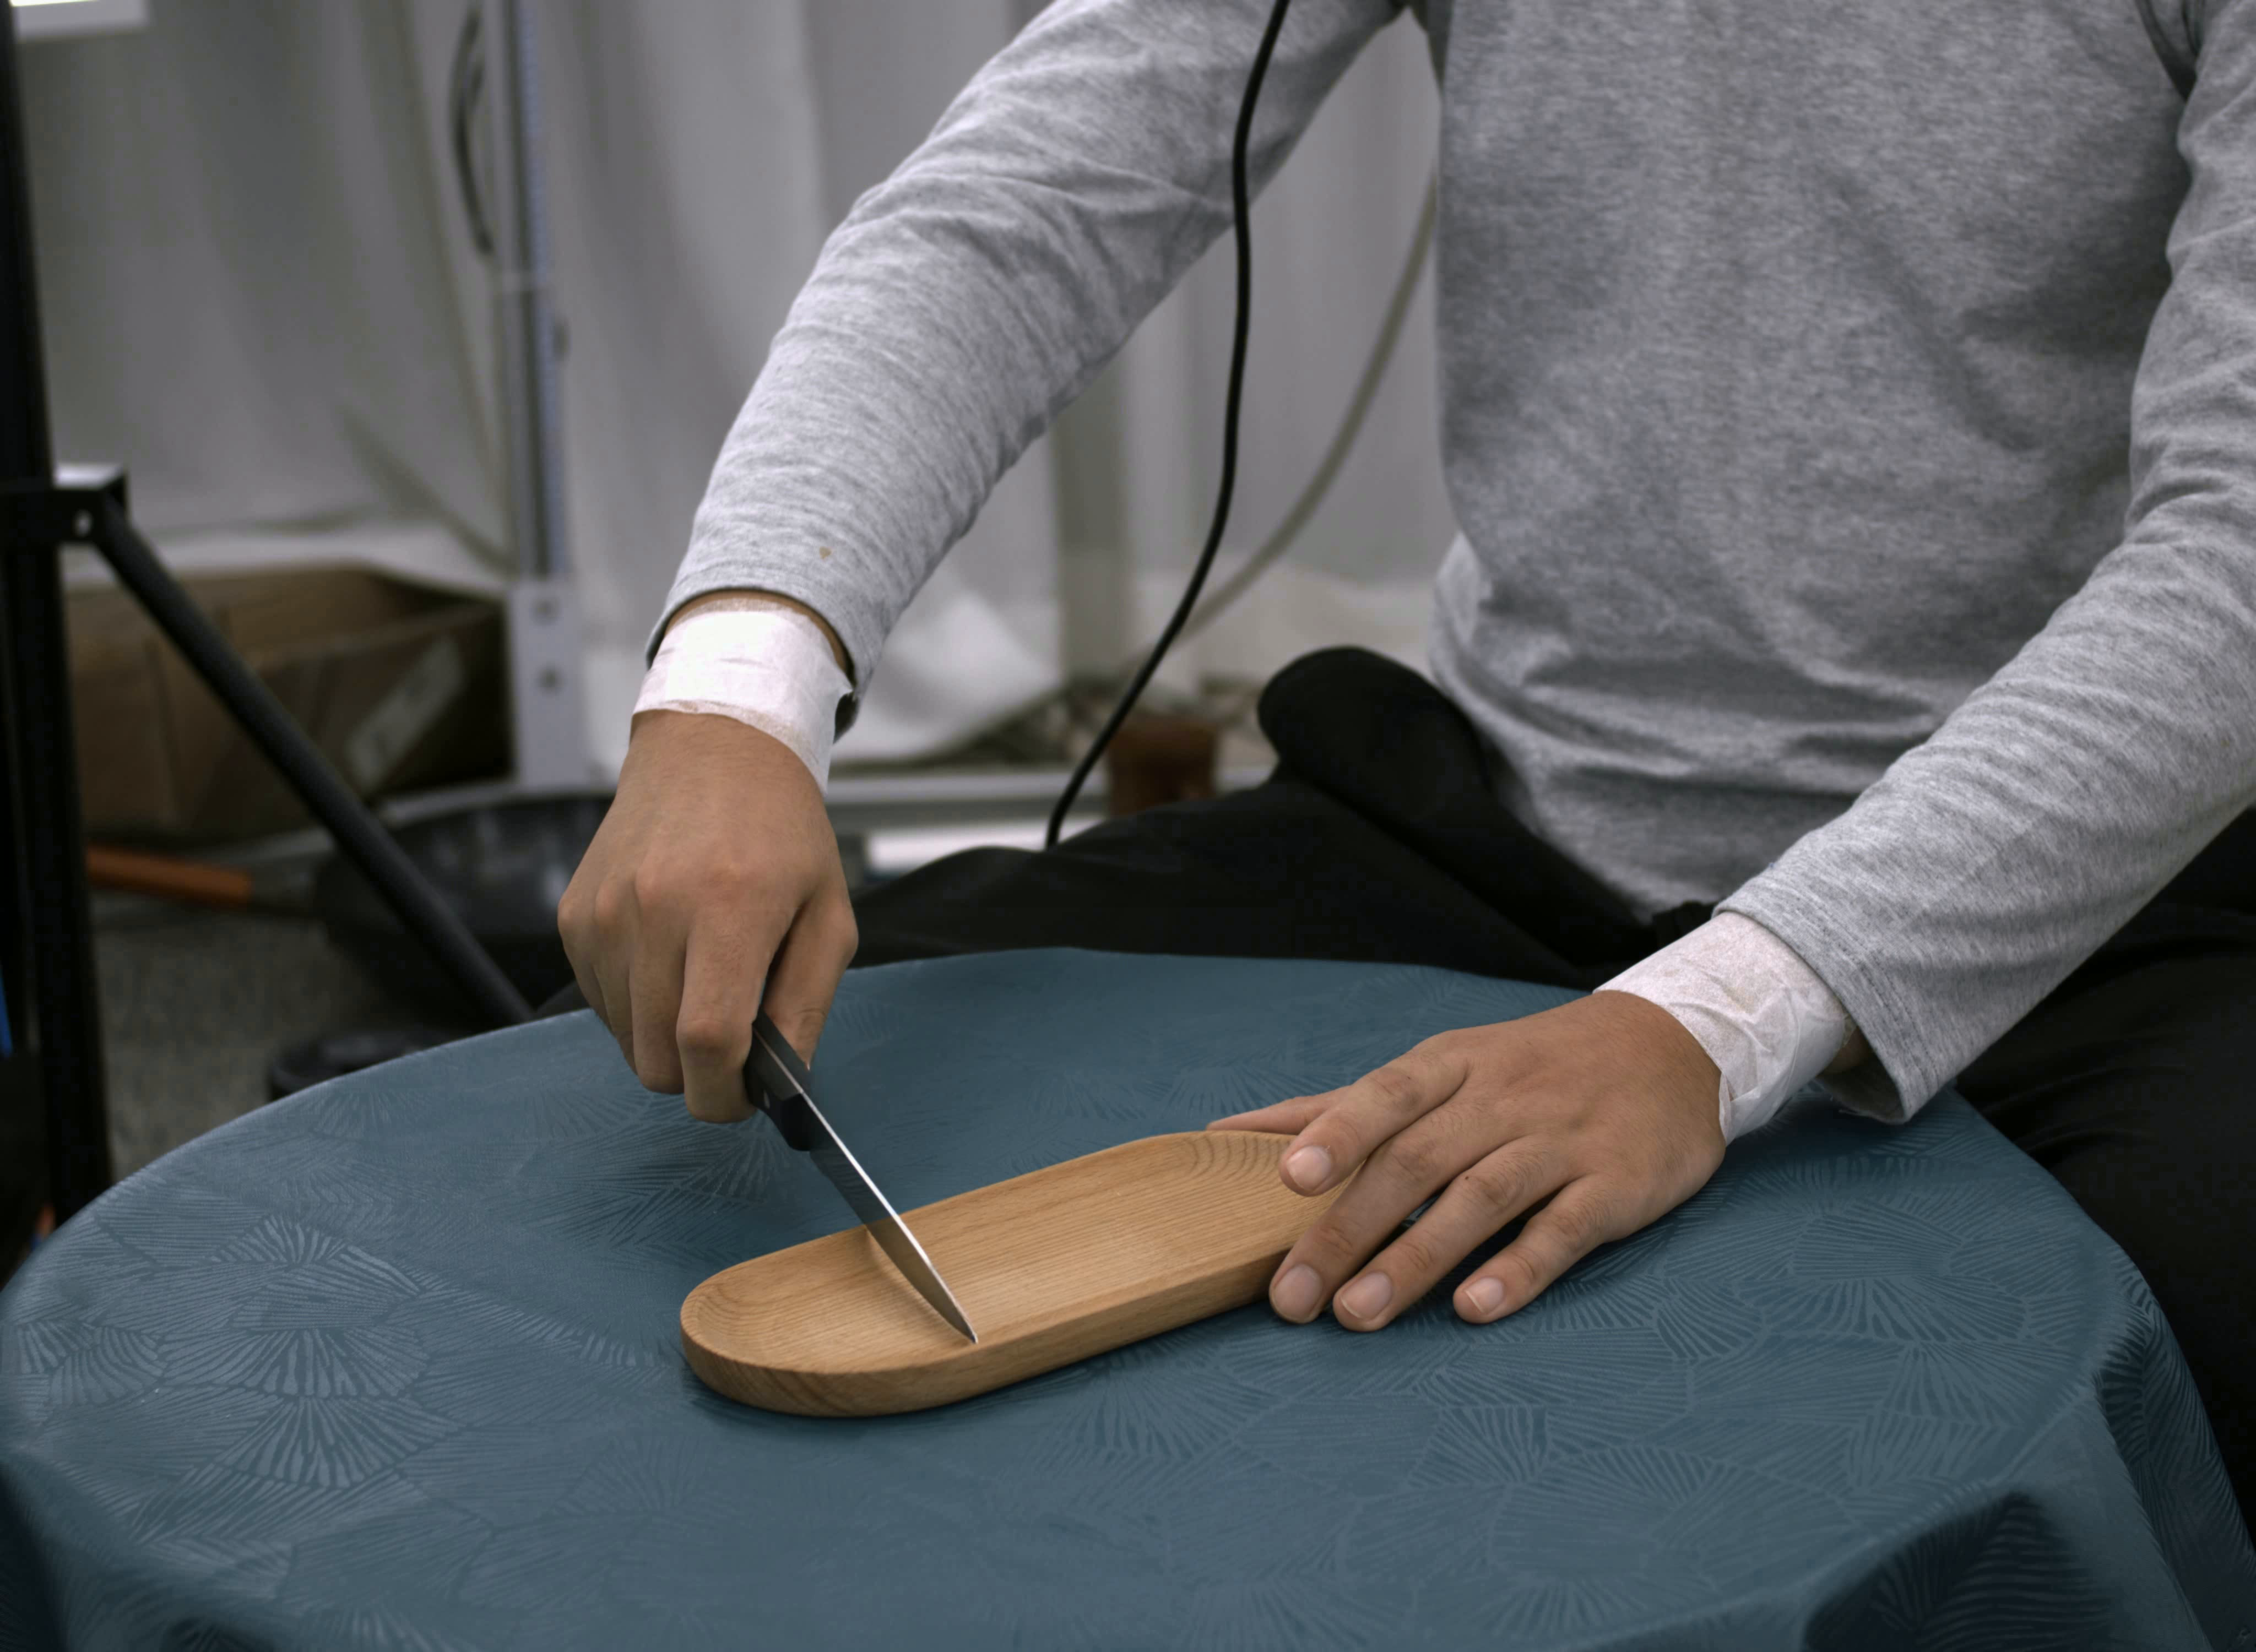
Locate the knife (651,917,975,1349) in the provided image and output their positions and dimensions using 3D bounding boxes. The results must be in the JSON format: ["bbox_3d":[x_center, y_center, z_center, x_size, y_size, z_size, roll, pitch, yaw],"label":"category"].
[{"bbox_3d":[-0.089,0.086,1.520,0.016,0.024,0.243,-14,33,-20],"label":"knife"}]

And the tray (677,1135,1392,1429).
[{"bbox_3d":[-0.023,0.125,1.477,0.226,0.020,0.104,-18,20,-38],"label":"tray"}]
